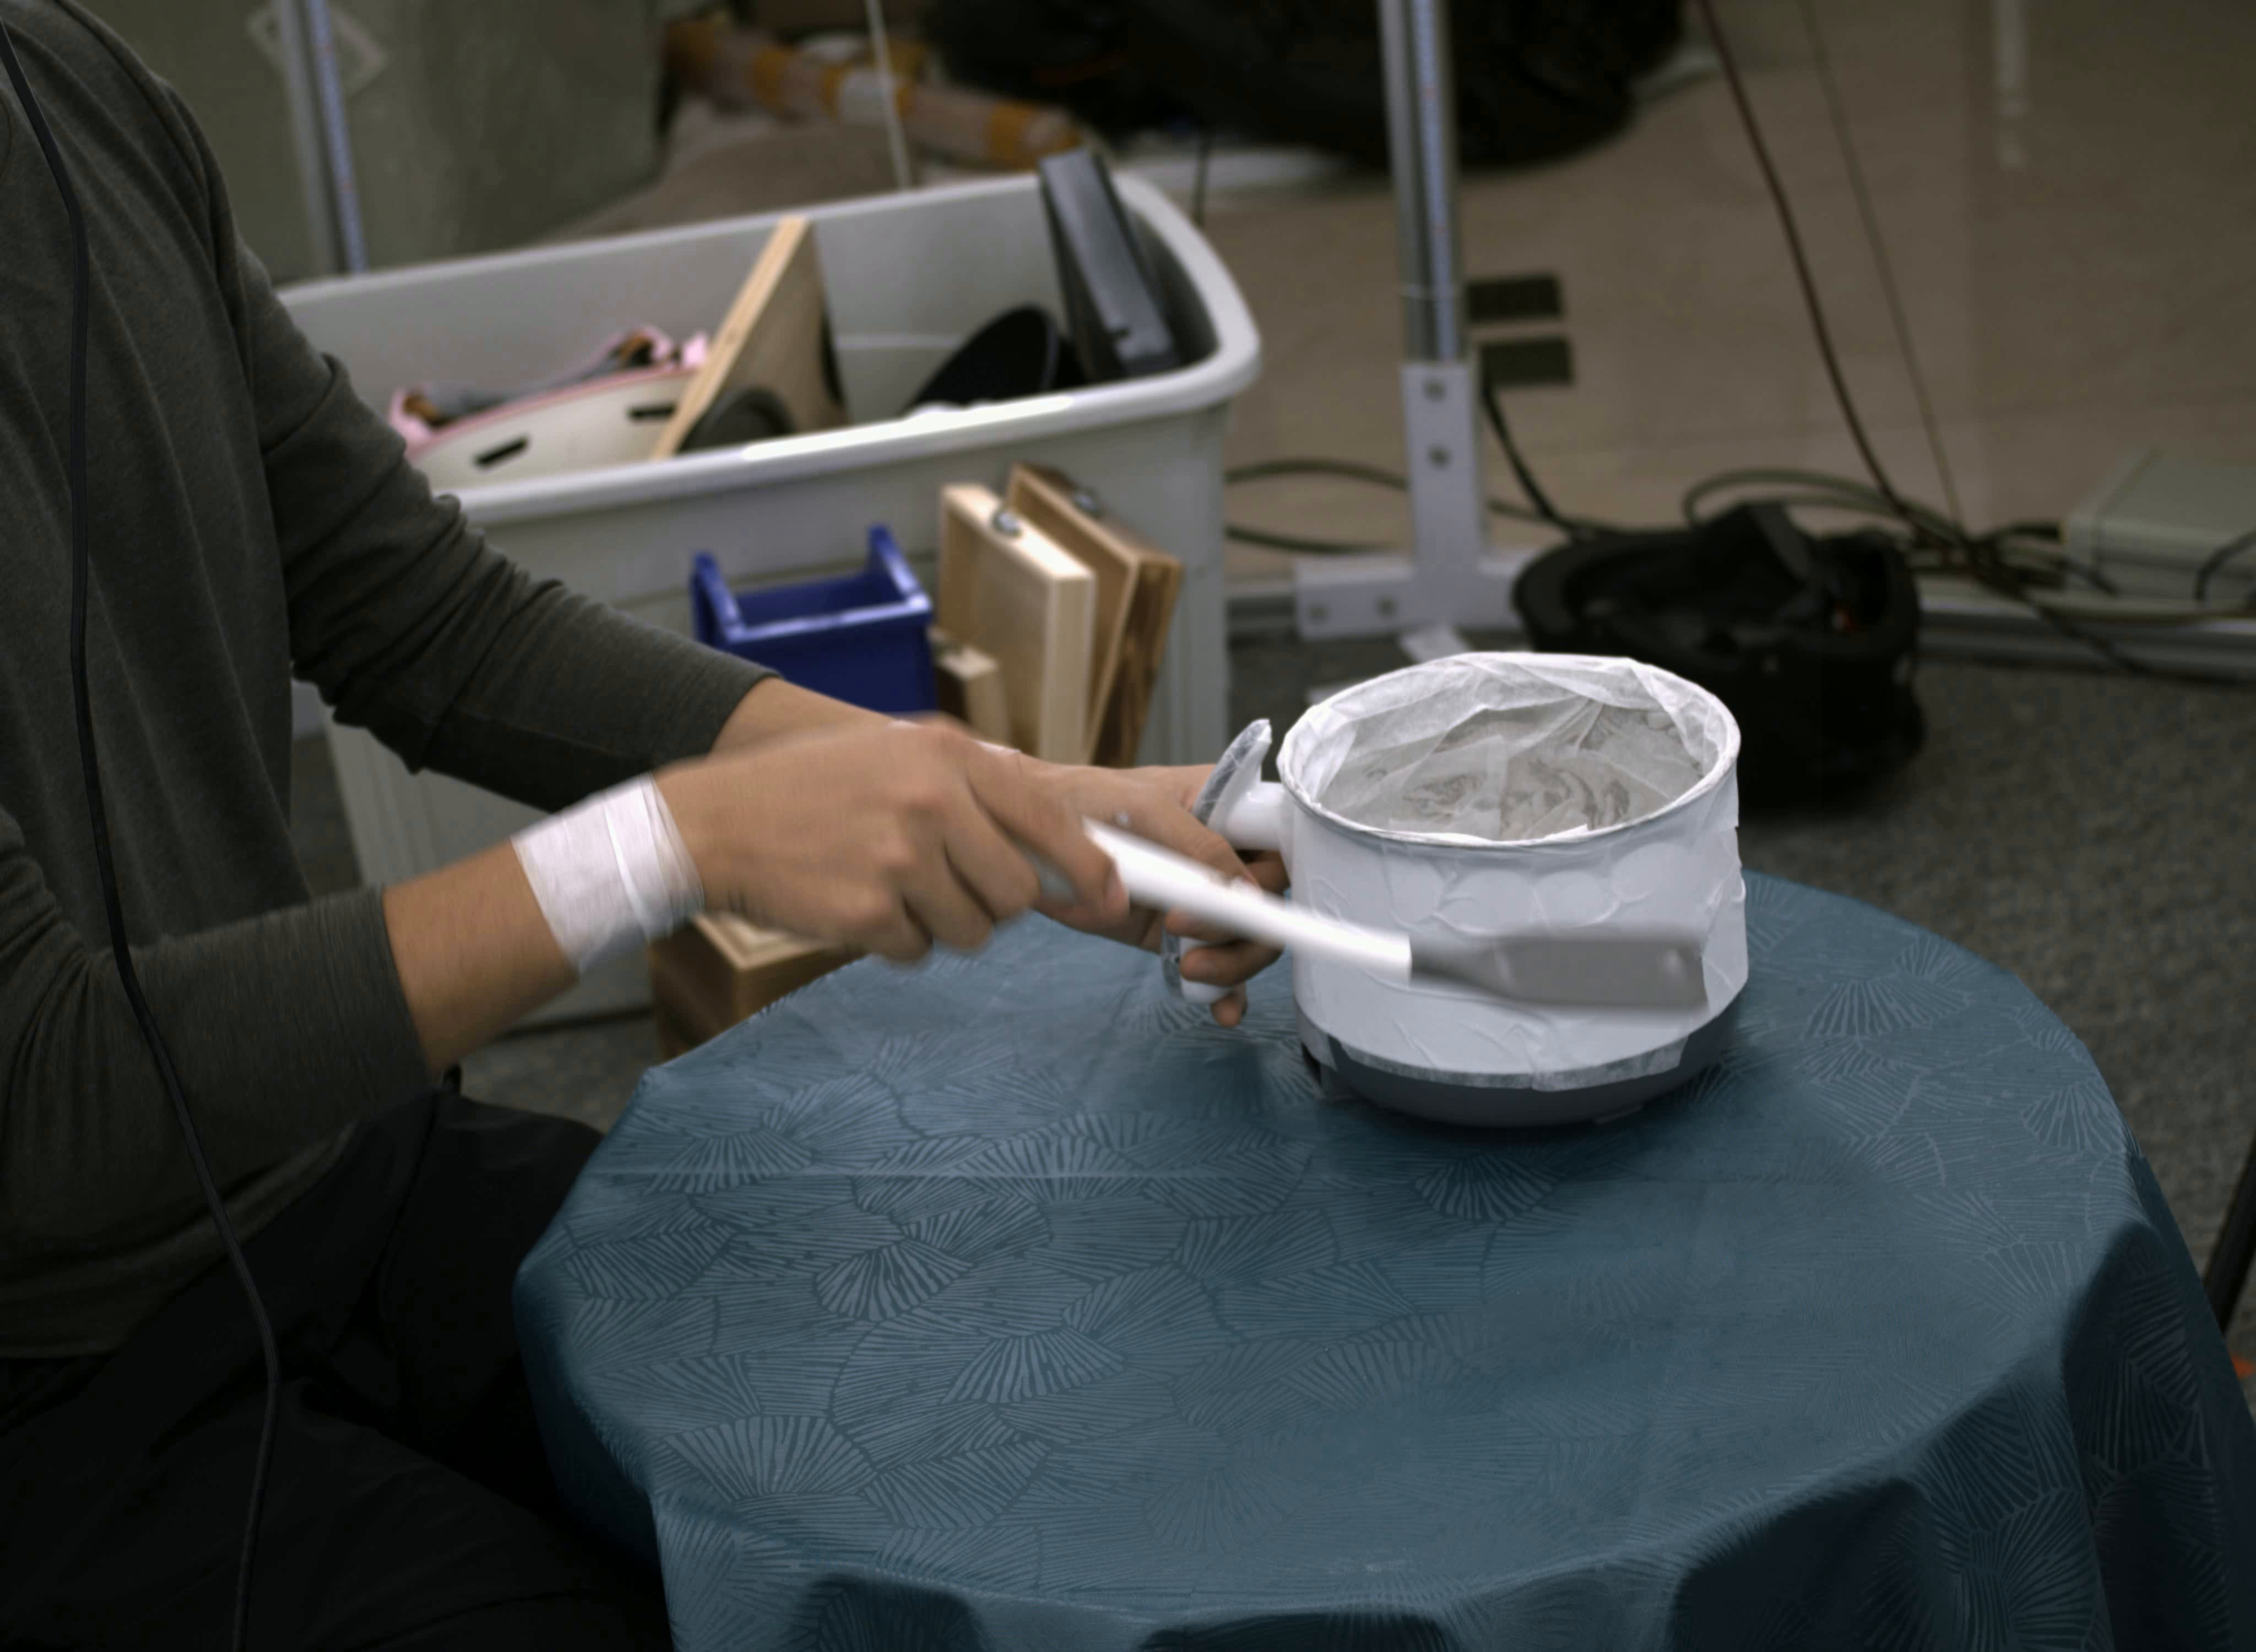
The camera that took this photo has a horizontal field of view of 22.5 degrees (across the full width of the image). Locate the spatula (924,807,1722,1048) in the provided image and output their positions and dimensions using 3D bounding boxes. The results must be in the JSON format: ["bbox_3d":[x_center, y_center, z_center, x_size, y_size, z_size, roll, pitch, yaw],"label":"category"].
[{"bbox_3d":[0.070,0.039,1.997,0.287,0.033,0.058,13,30,-10],"label":"spatula"}]

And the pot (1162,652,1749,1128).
[{"bbox_3d":[0.124,0.025,2.197,0.233,0.139,0.176,3,26,16],"label":"pot"}]
